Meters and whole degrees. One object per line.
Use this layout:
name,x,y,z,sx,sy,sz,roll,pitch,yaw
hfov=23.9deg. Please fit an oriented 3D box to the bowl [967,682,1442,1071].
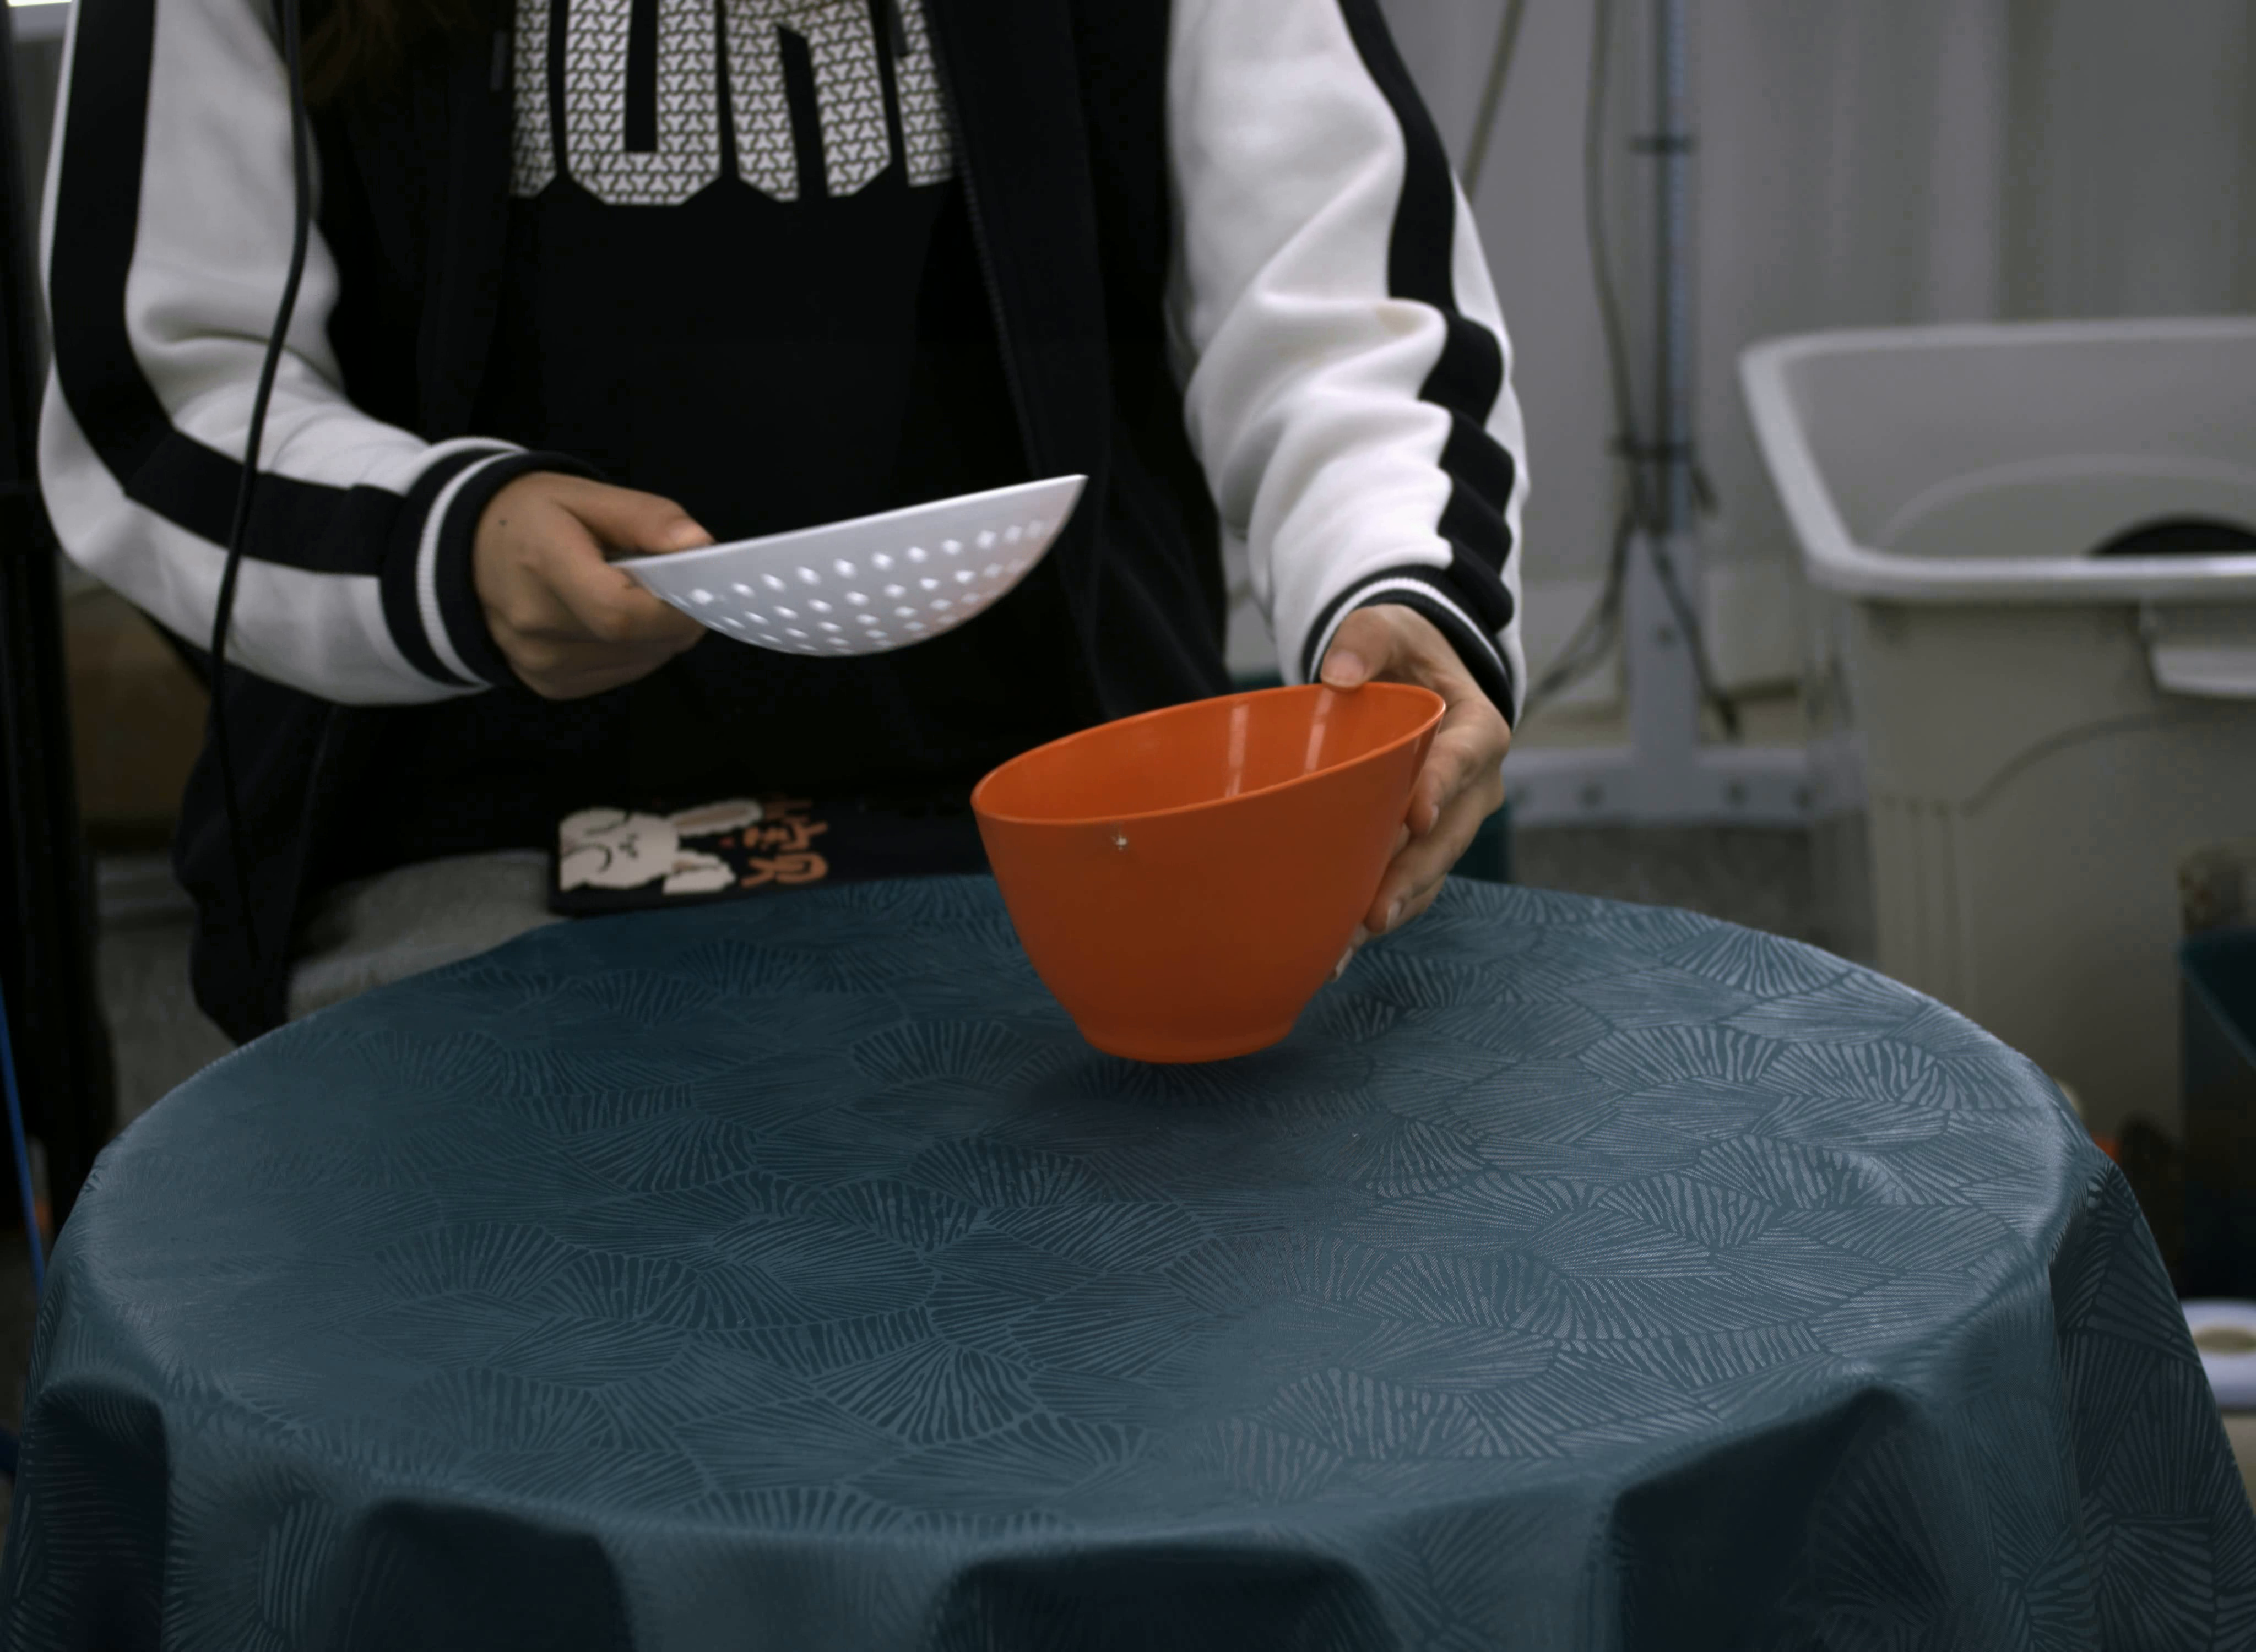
bowl,0.025,0.017,1.638,0.147,0.104,0.149,-5,18,0

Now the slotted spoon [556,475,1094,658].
slotted spoon,-0.118,-0.083,1.678,0.133,0.046,0.356,-13,10,-22
